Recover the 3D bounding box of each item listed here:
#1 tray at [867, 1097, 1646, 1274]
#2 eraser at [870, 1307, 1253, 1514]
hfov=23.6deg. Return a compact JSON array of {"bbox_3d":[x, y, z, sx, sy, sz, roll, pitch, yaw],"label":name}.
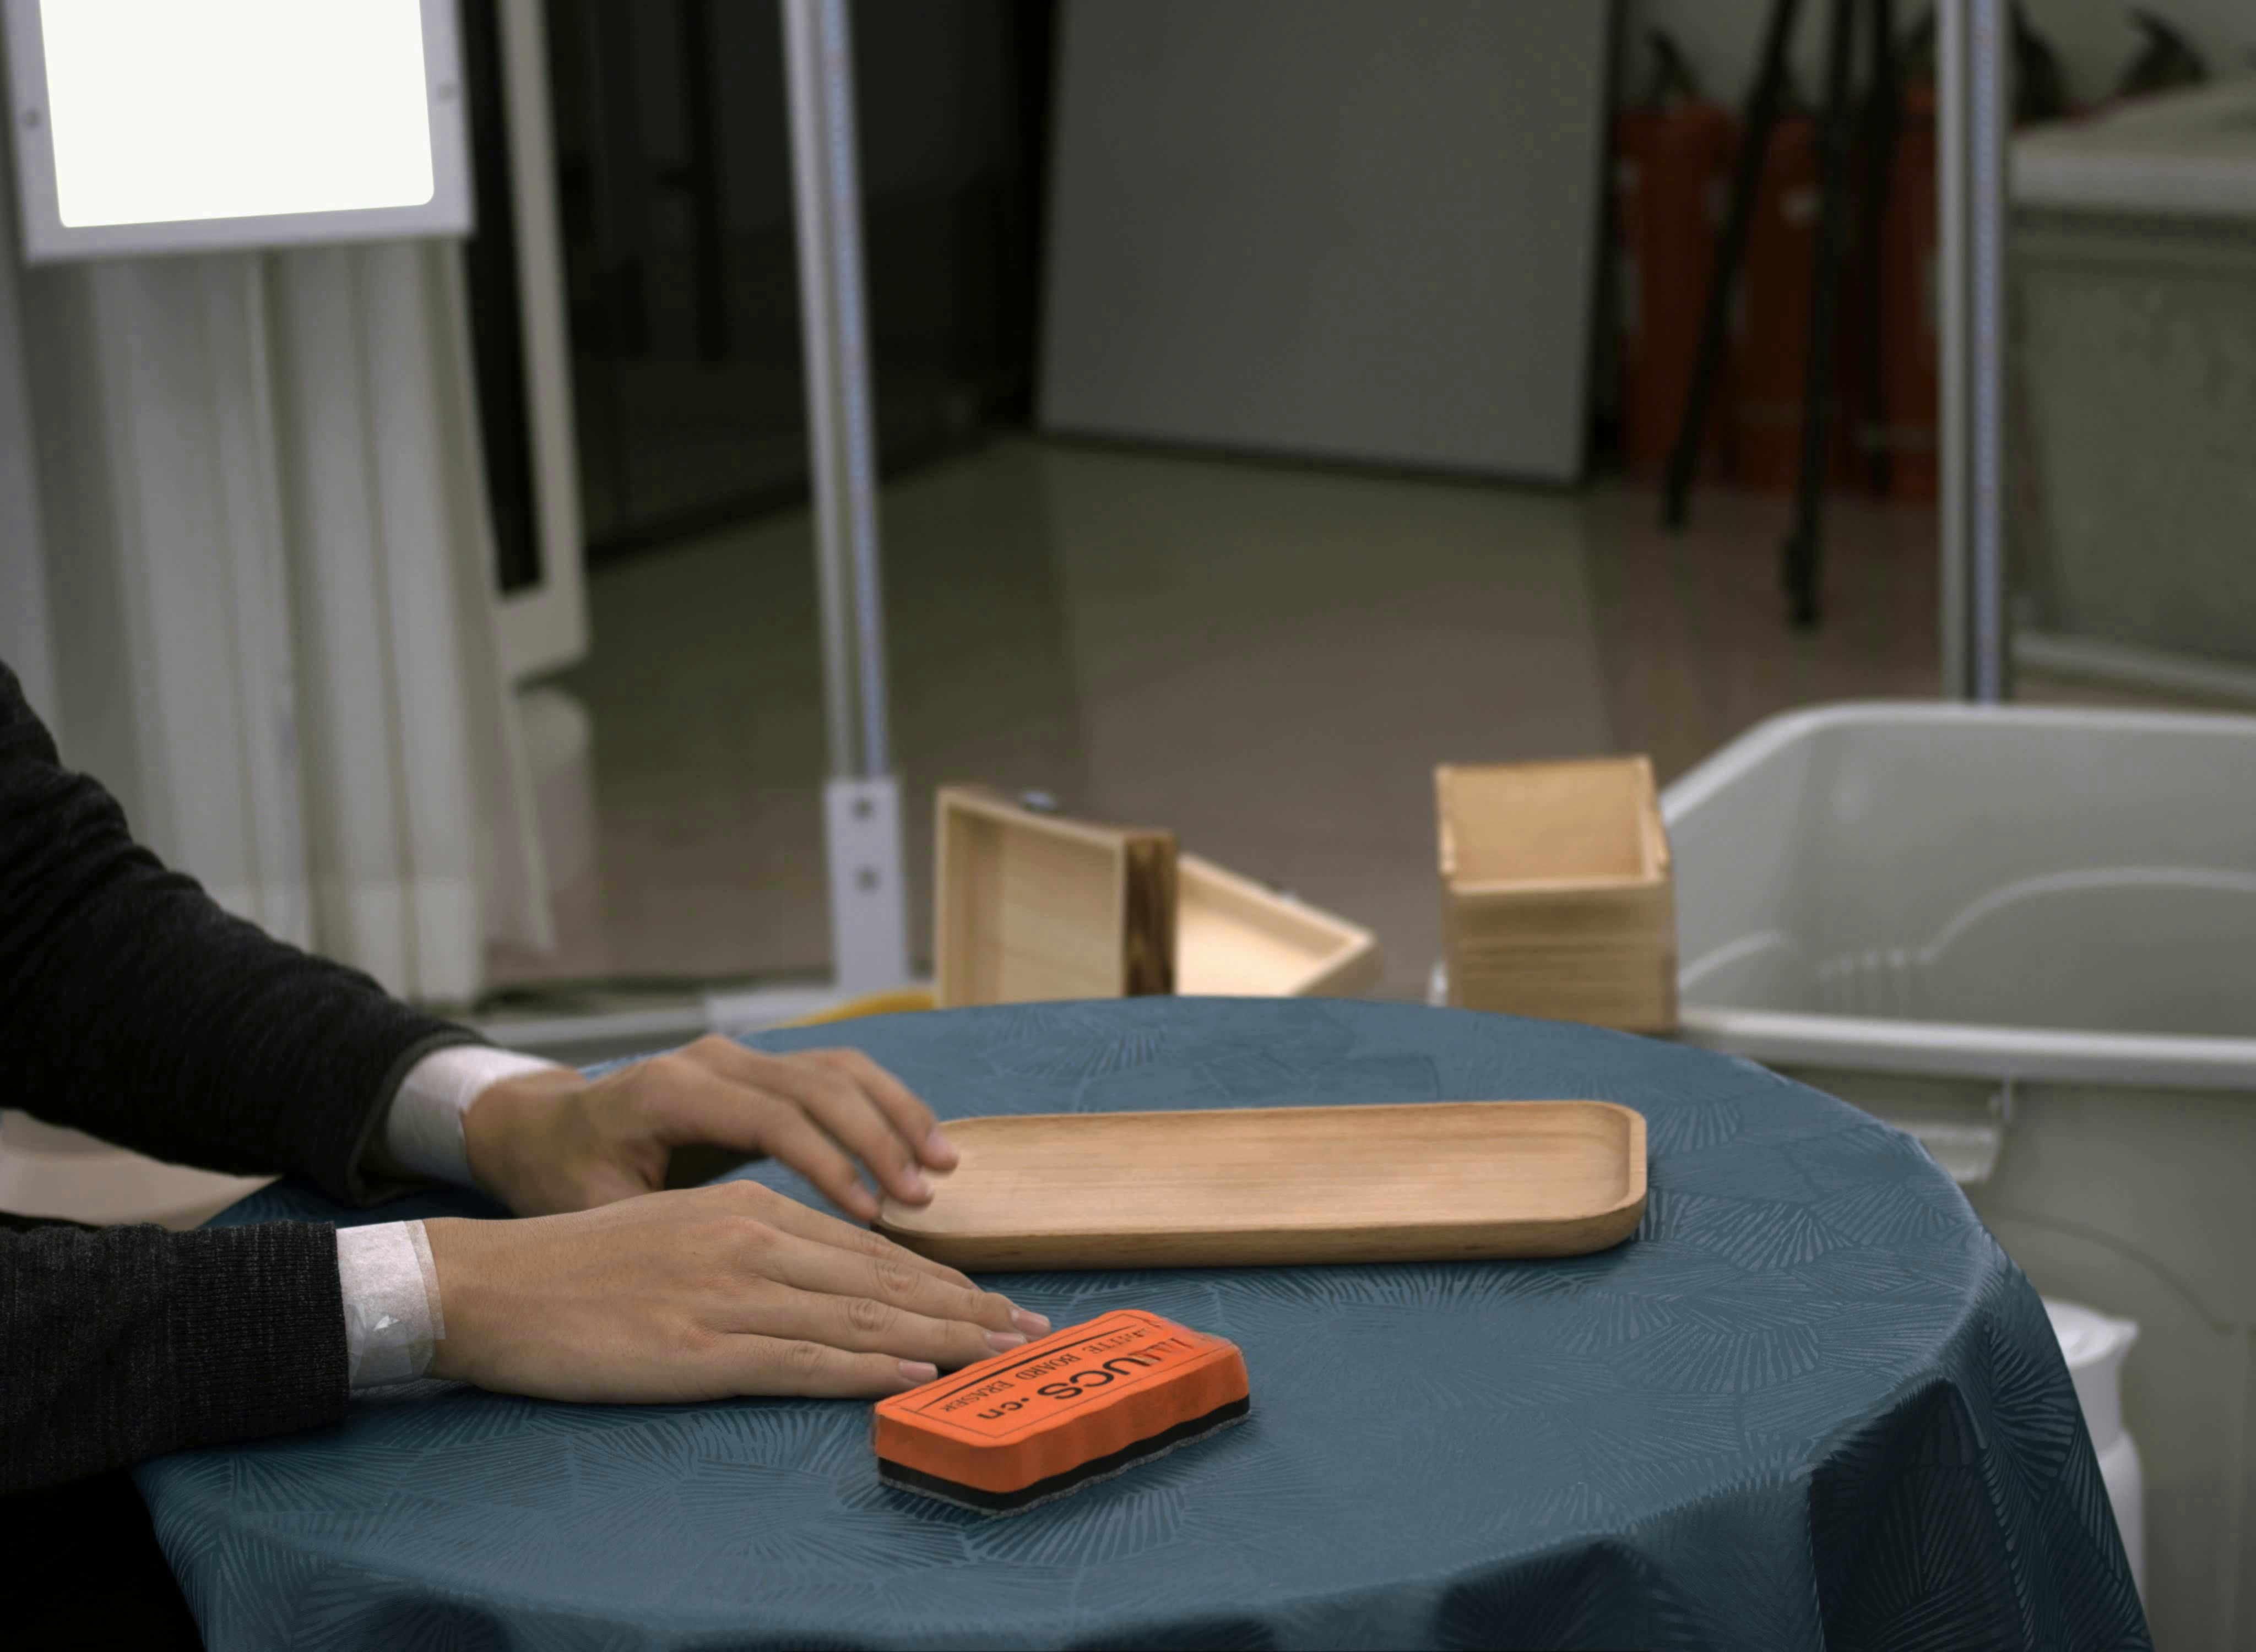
[{"bbox_3d":[0.043,0.116,1.741,0.248,0.023,0.130,-3,12,9],"label":"tray"},{"bbox_3d":[-0.018,0.166,1.540,0.106,0.023,0.059,-16,18,-40],"label":"eraser"}]
